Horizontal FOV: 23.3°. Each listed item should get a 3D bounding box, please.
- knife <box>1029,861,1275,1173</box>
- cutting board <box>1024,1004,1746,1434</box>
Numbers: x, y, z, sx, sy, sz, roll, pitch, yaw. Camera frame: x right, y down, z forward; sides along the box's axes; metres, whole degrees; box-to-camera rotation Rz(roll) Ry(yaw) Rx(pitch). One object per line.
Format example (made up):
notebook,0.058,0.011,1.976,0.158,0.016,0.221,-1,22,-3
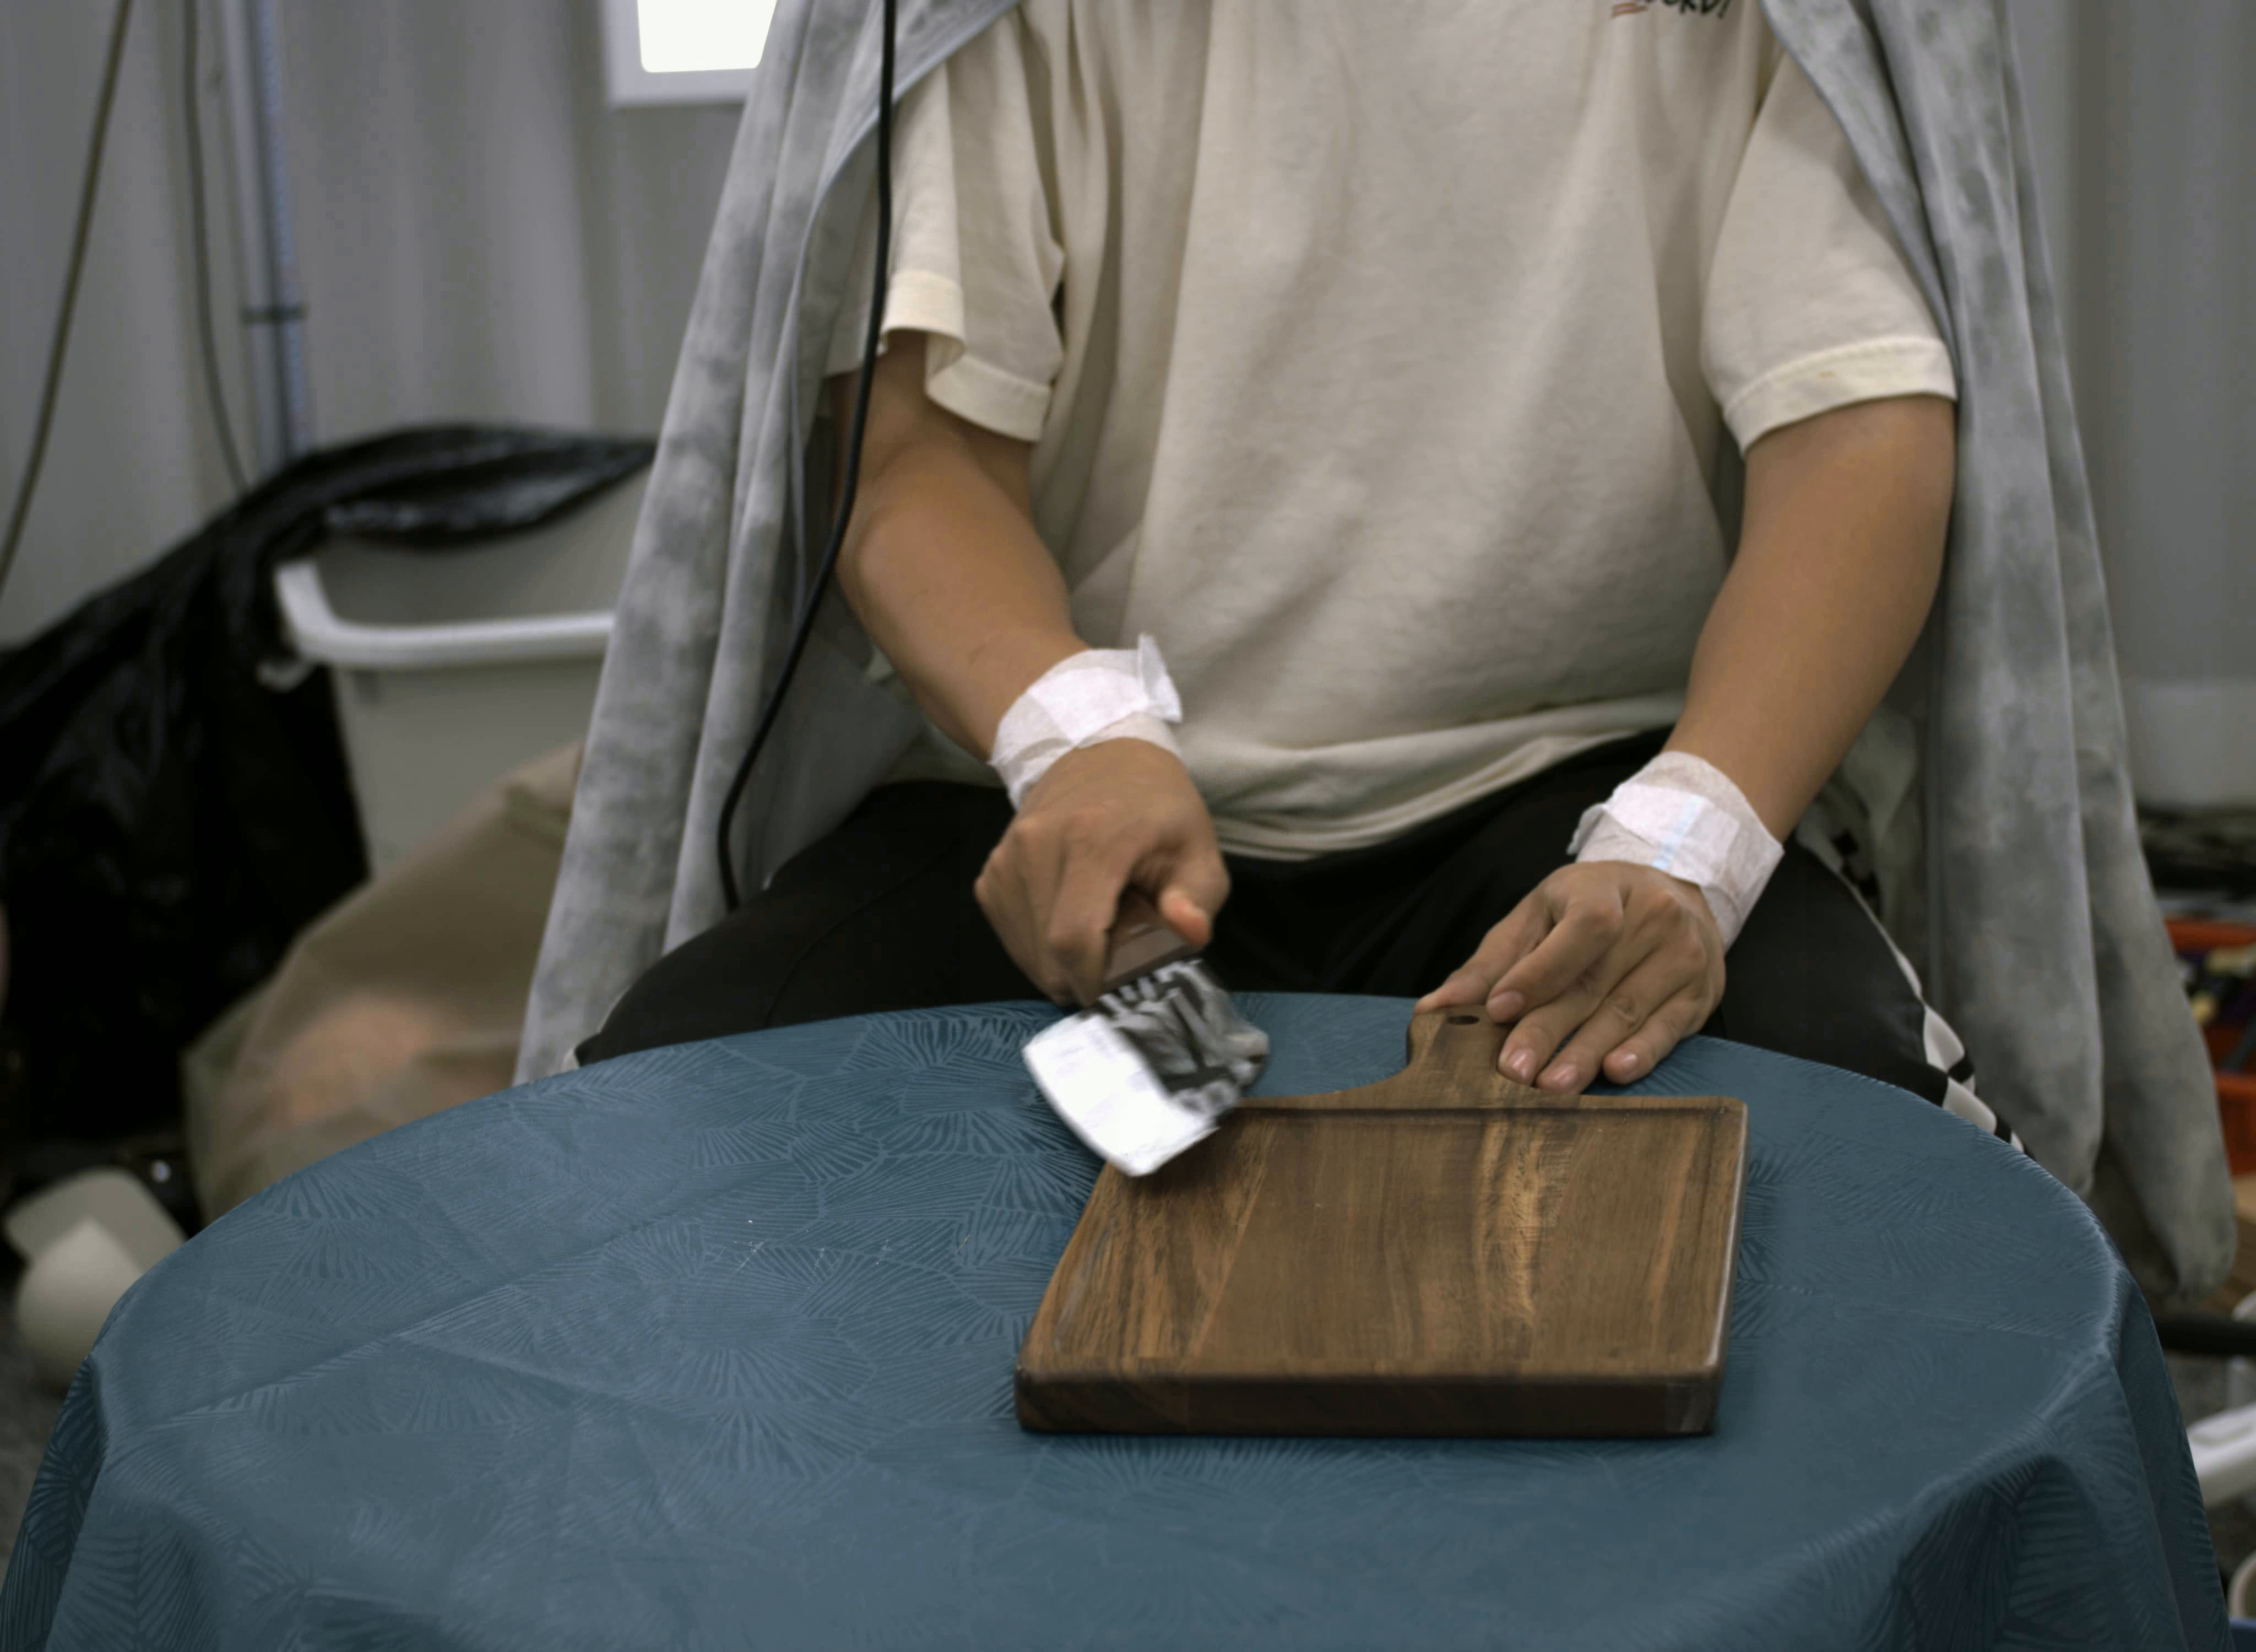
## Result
knife,0.001,0.063,1.810,0.068,0.024,0.301,-28,16,-3
cutting board,0.089,0.114,1.666,0.200,0.023,0.354,-1,14,8
